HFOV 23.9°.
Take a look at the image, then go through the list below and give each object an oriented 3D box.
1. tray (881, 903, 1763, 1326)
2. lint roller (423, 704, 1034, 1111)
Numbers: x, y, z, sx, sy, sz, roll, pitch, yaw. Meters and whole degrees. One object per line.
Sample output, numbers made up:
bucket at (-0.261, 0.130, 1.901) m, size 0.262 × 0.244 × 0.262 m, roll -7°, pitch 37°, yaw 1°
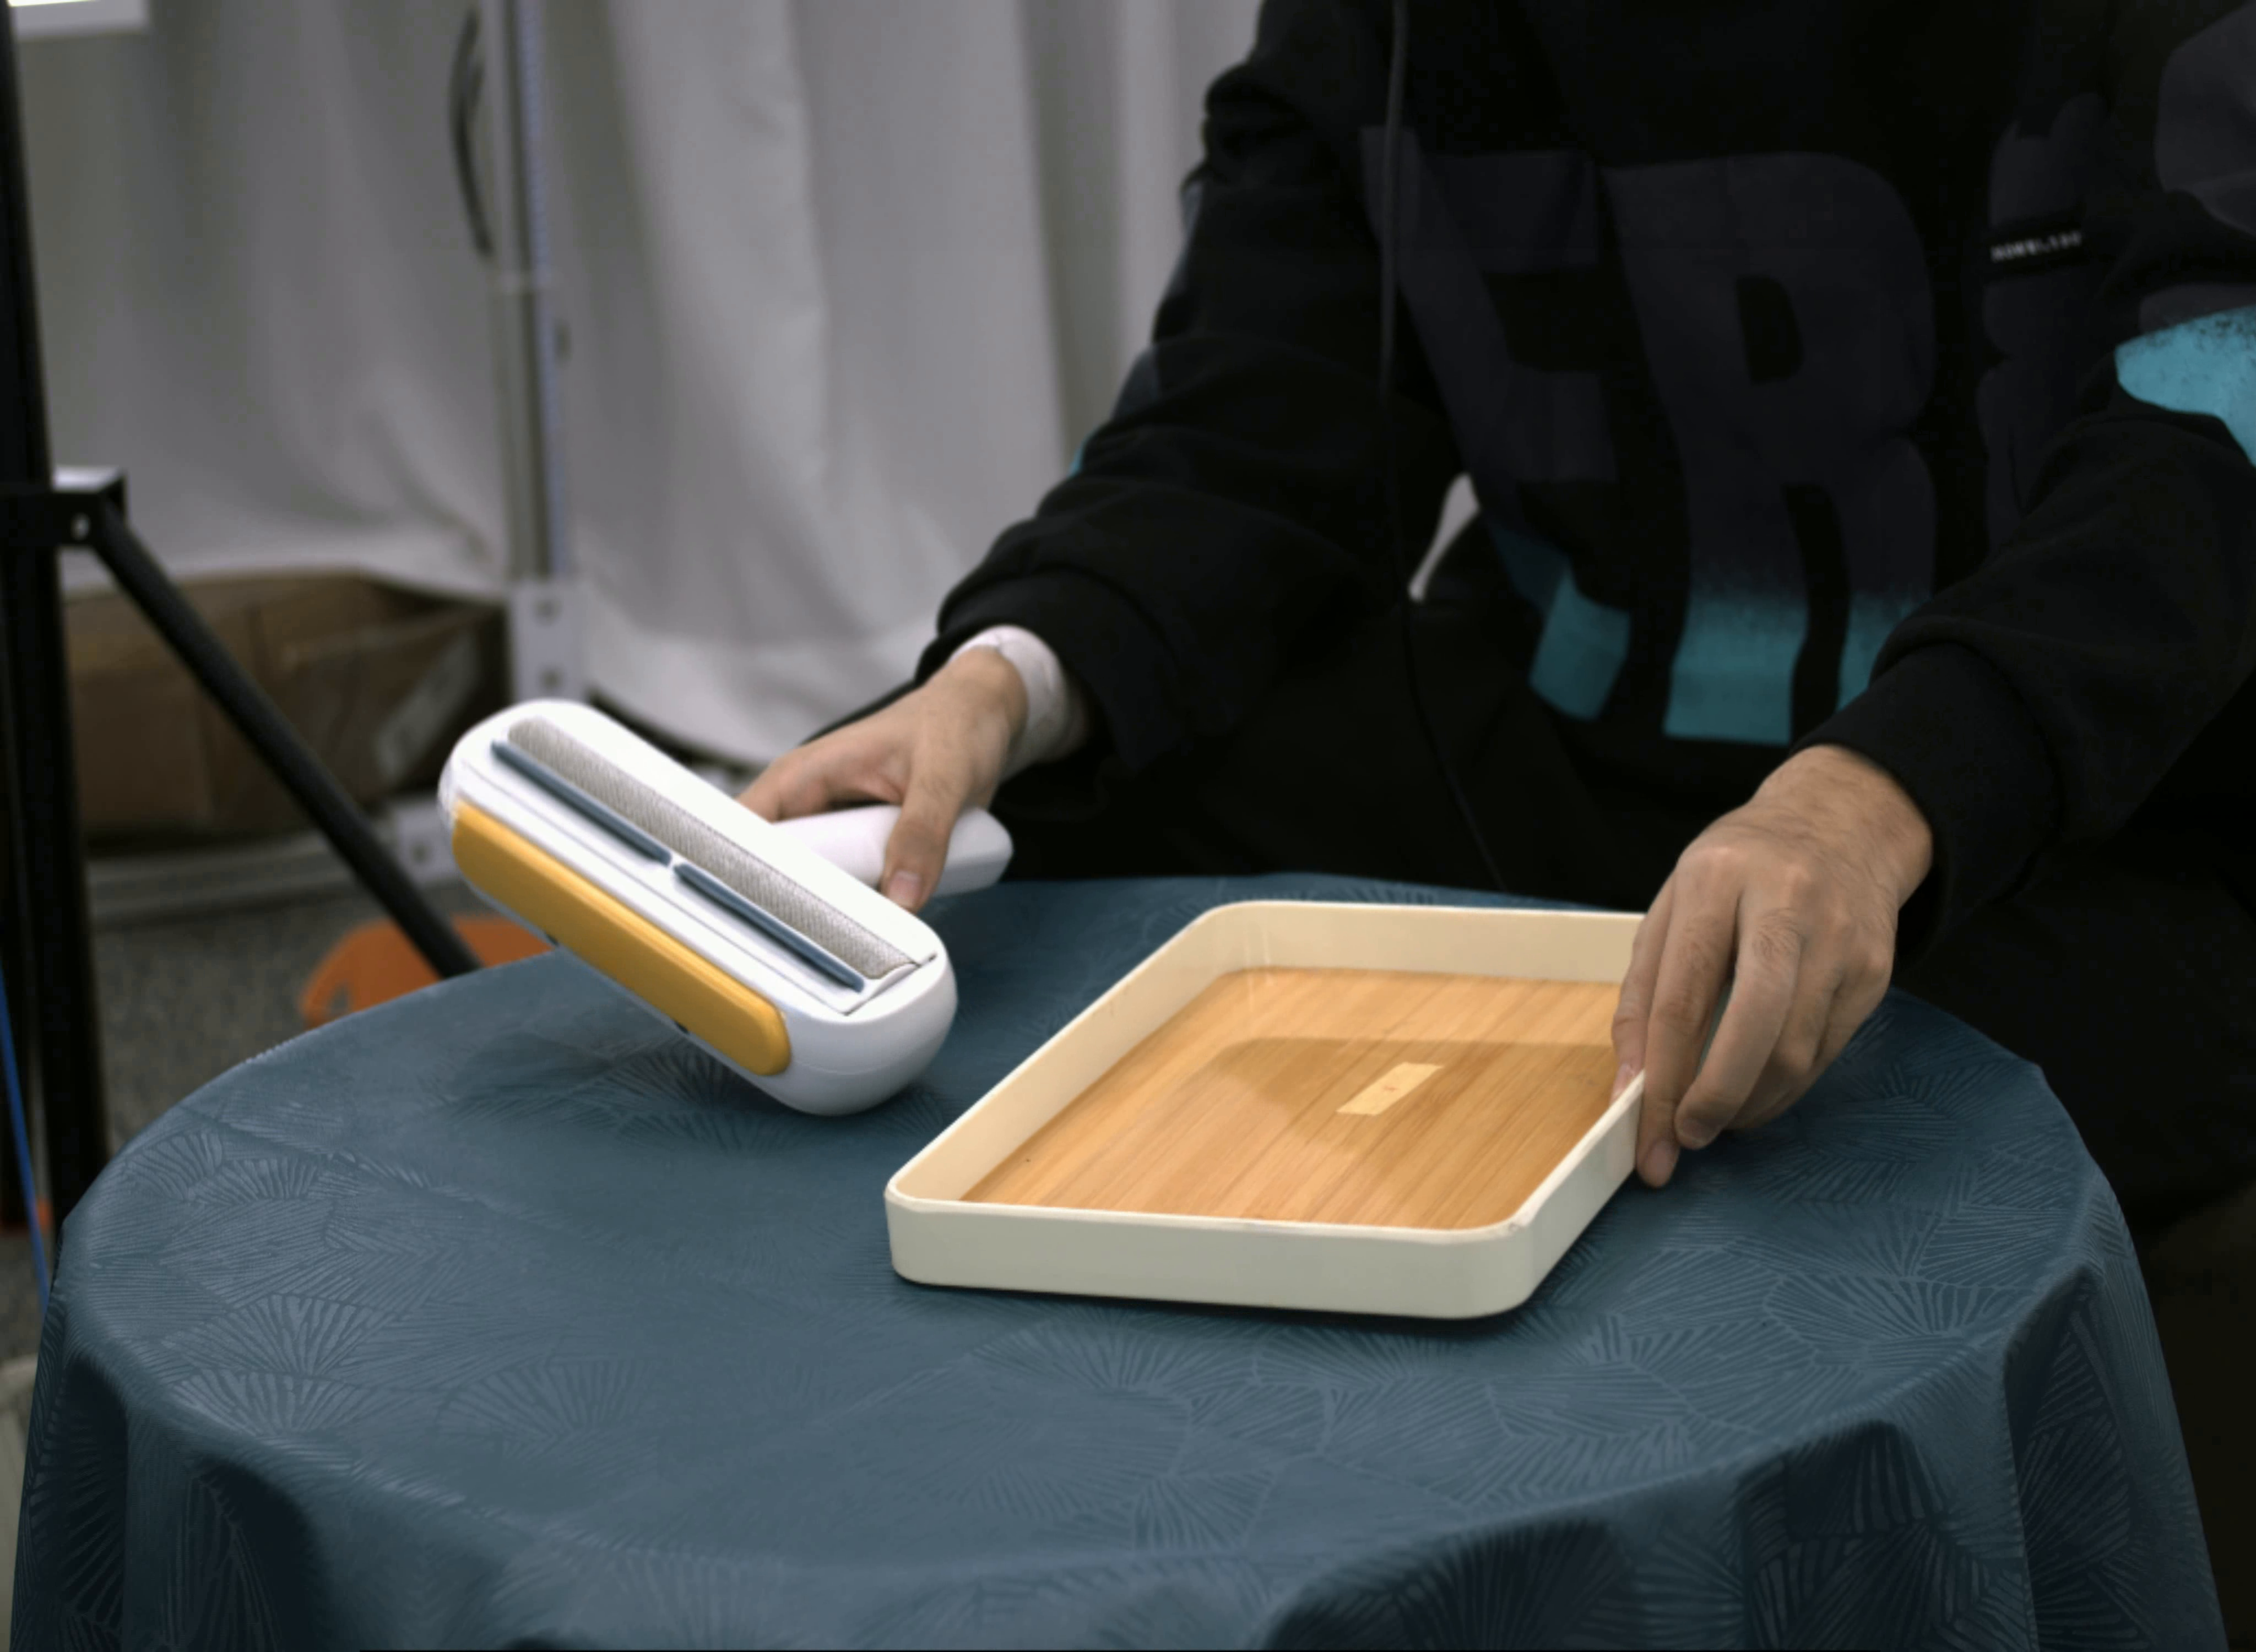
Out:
tray at (0.066, 0.081, 1.586) m, size 0.194 × 0.027 × 0.296 m, roll 1°, pitch 17°, yaw 22°
lint roller at (-0.103, 0.014, 1.722) m, size 0.197 × 0.074 × 0.188 m, roll 28°, pitch 36°, yaw 35°
